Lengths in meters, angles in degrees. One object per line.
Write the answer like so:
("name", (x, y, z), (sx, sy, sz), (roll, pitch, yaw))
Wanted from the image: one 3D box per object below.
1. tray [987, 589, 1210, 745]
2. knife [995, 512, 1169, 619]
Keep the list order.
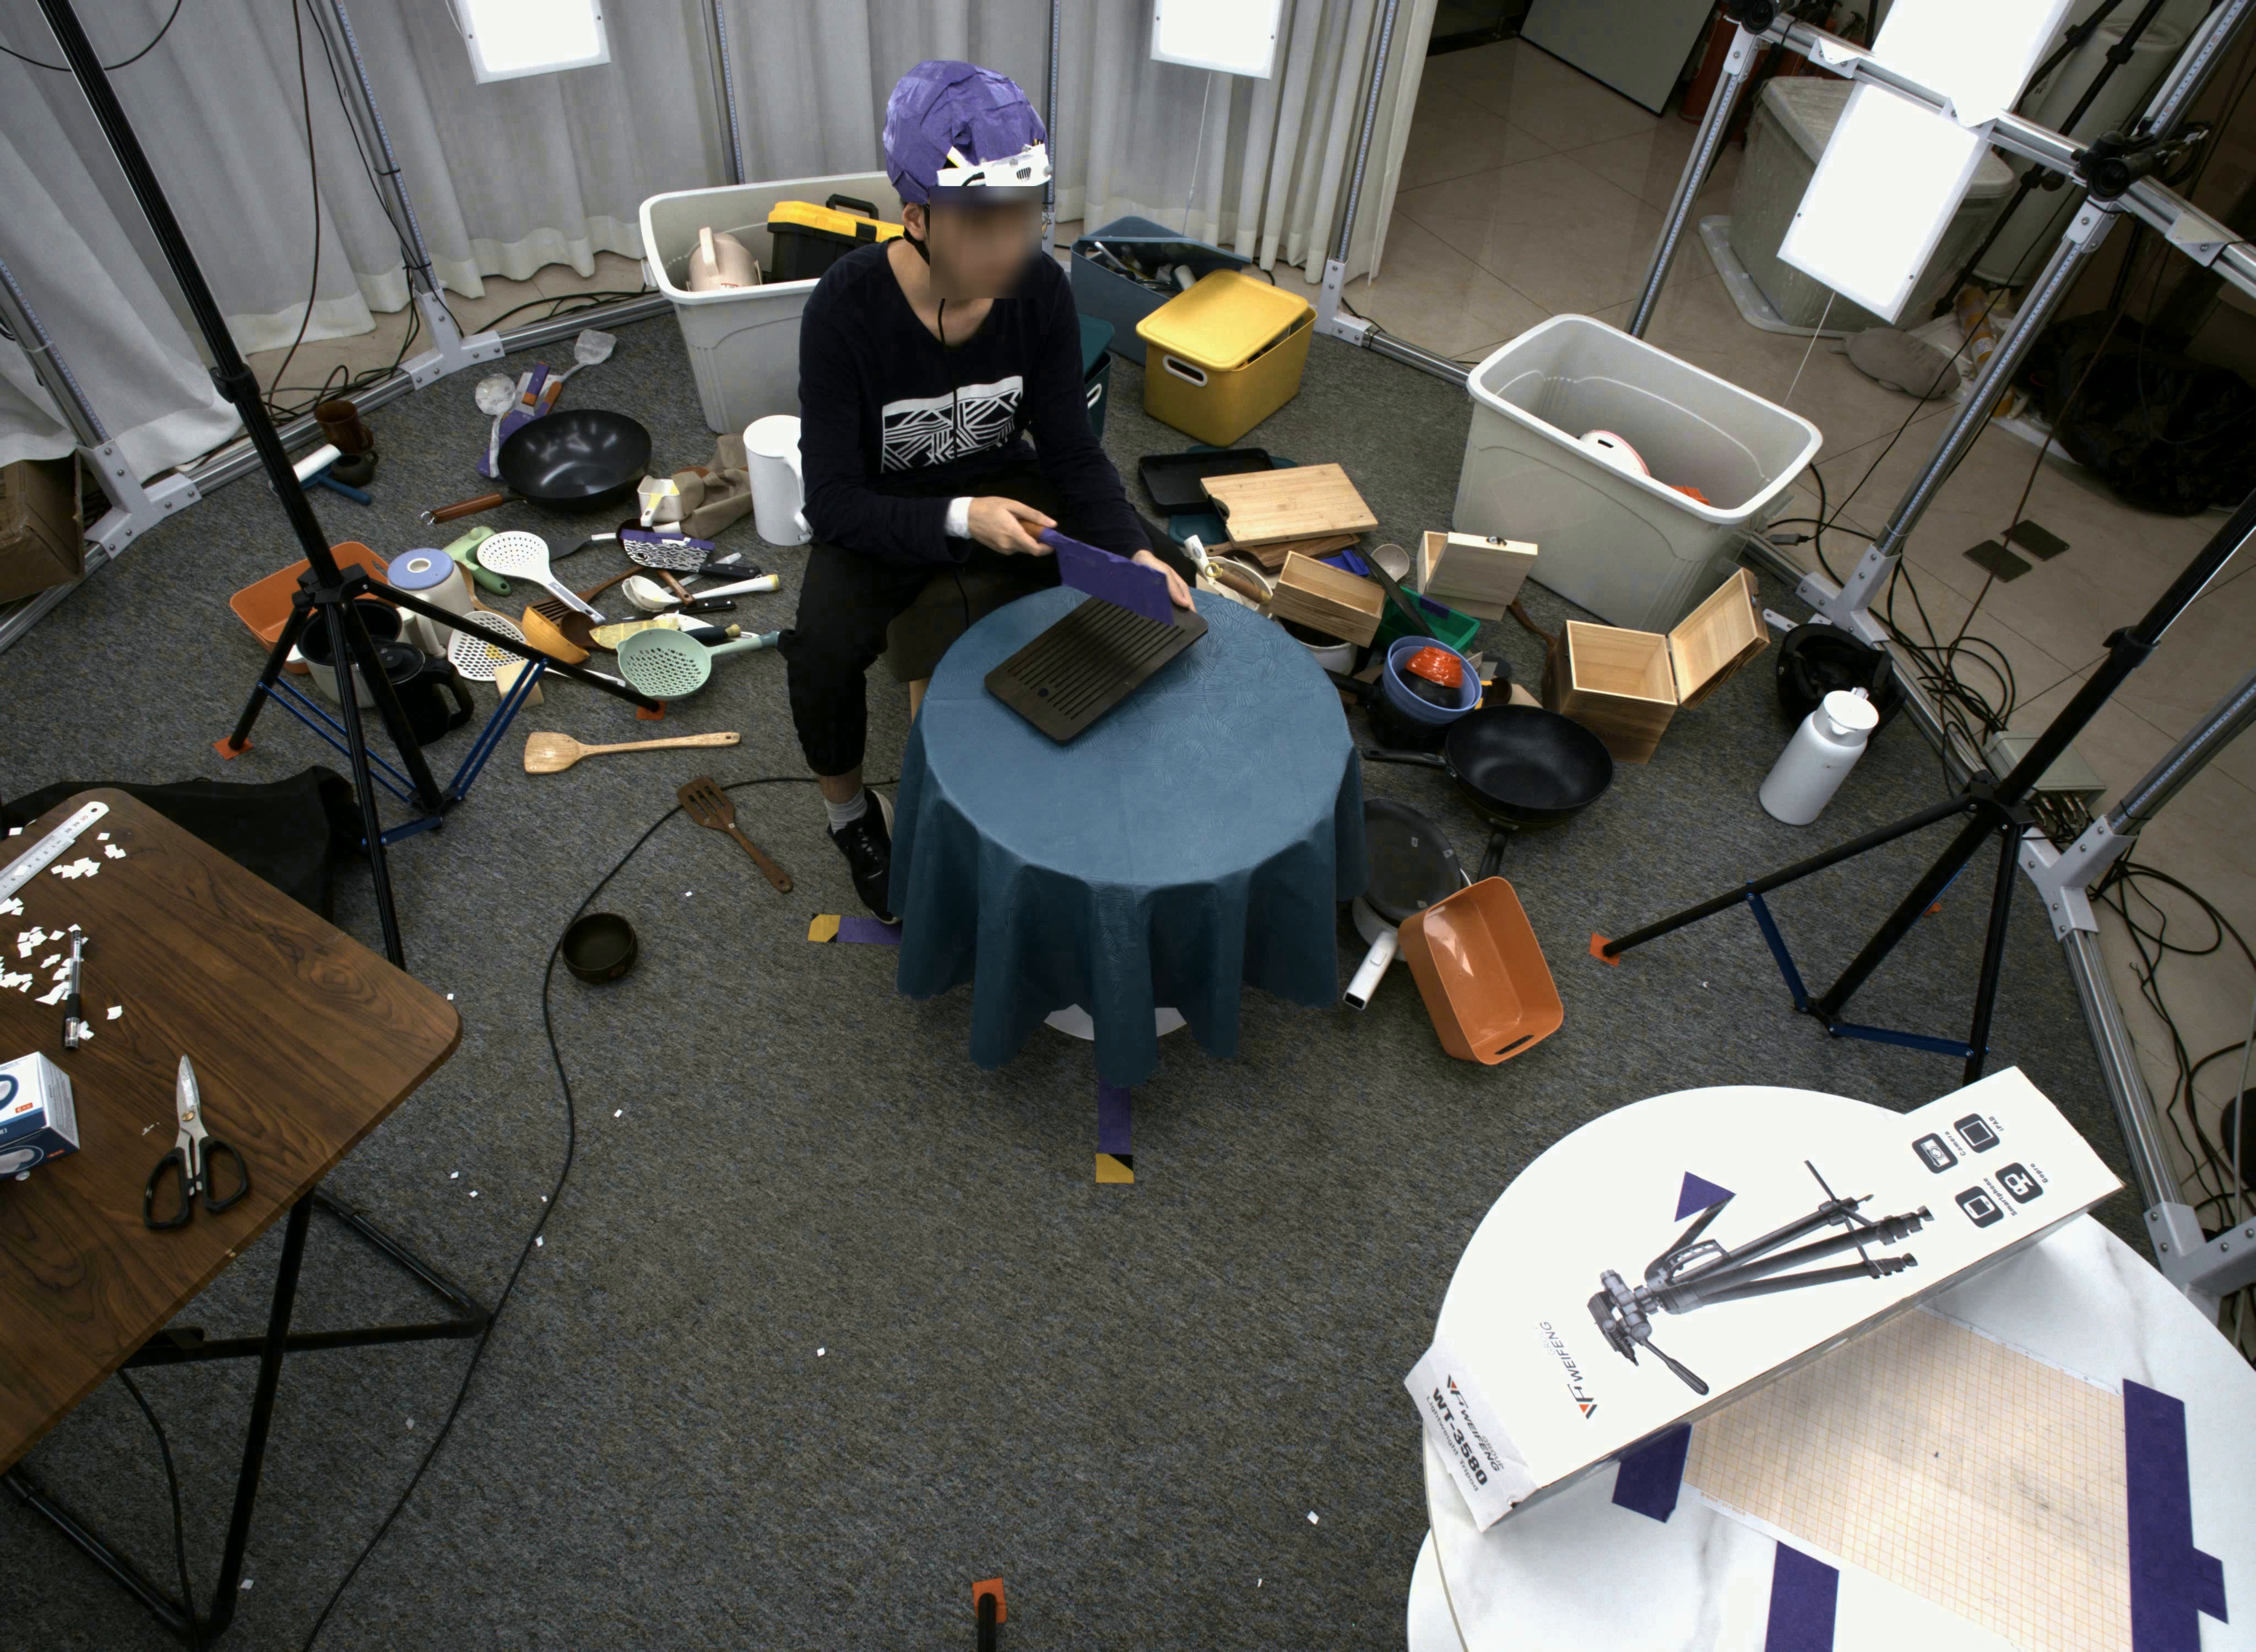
("tray", (-0.039, -0.244, 1.844), (0.172, 0.018, 0.309), (37, 63, 26))
("knife", (-0.068, -0.365, 1.819), (0.320, 0.101, 0.032), (28, 54, 36))
